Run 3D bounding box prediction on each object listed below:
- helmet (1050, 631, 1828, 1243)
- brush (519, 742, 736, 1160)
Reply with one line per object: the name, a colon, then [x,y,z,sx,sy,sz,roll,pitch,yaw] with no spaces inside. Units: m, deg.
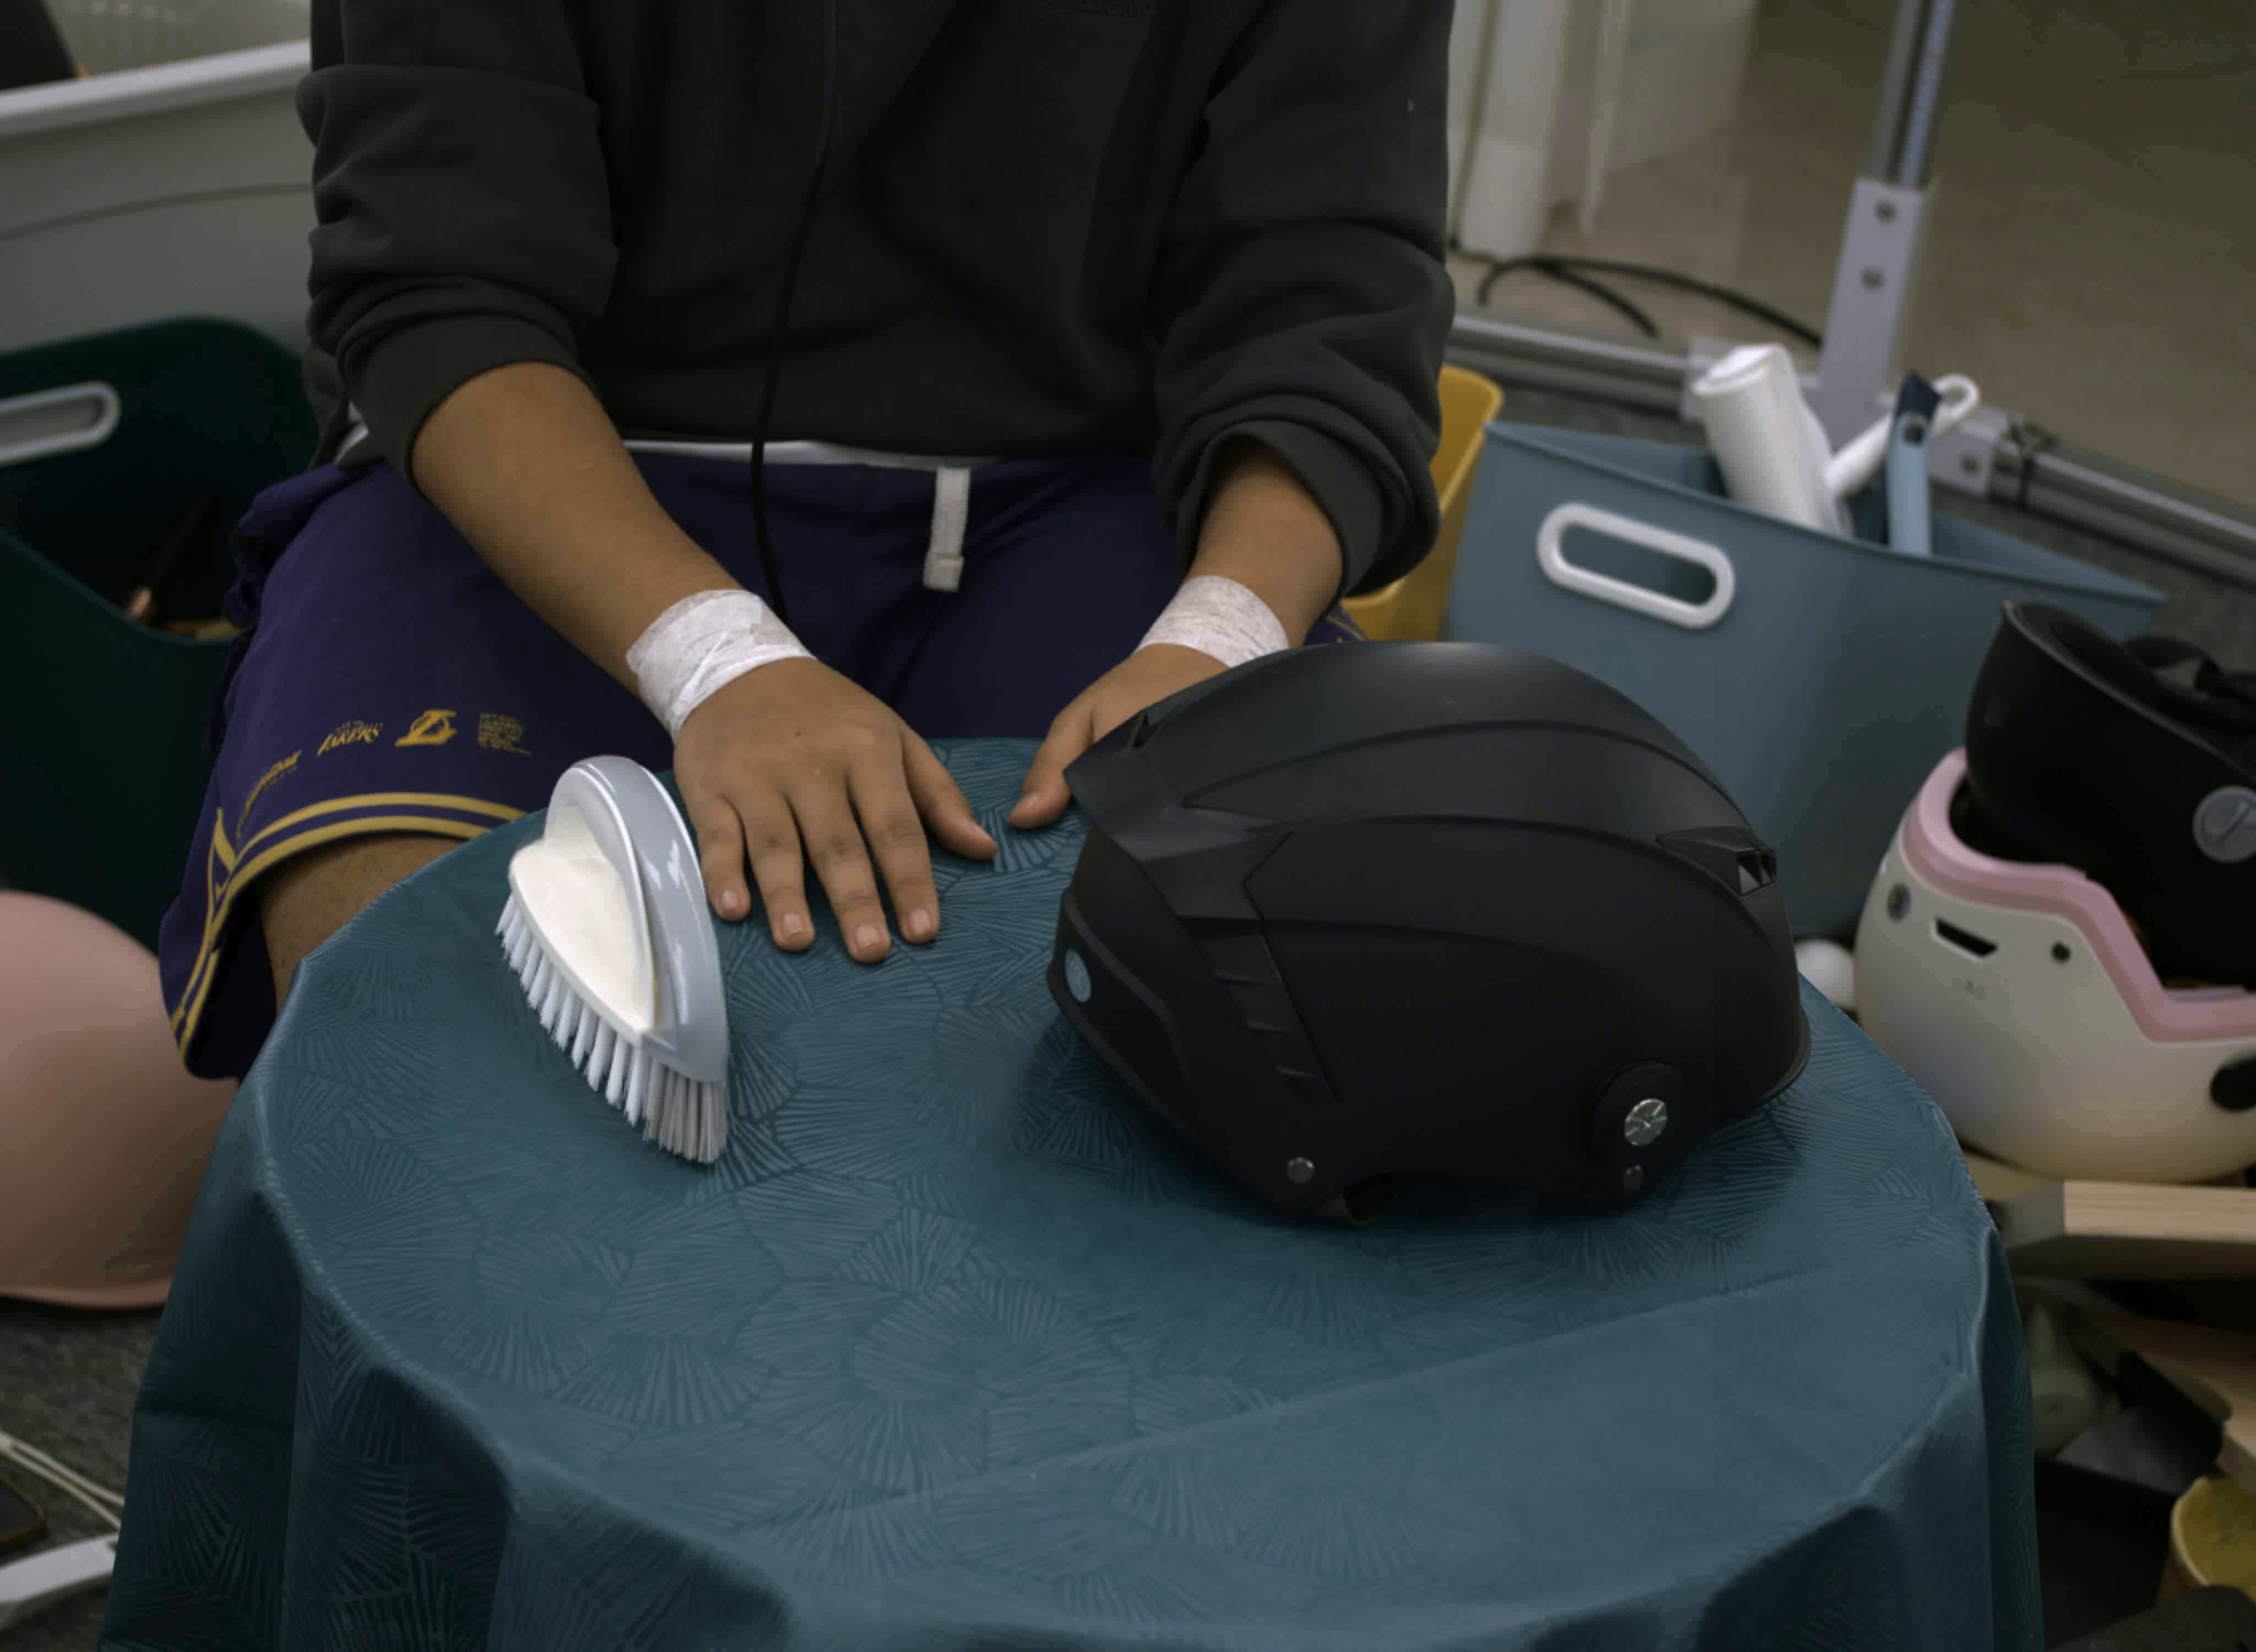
helmet: [0.109,0.020,1.855,0.275,0.172,0.249,-8,31,-18]
brush: [-0.165,0.035,1.838,0.061,0.094,0.177,-5,31,-20]
